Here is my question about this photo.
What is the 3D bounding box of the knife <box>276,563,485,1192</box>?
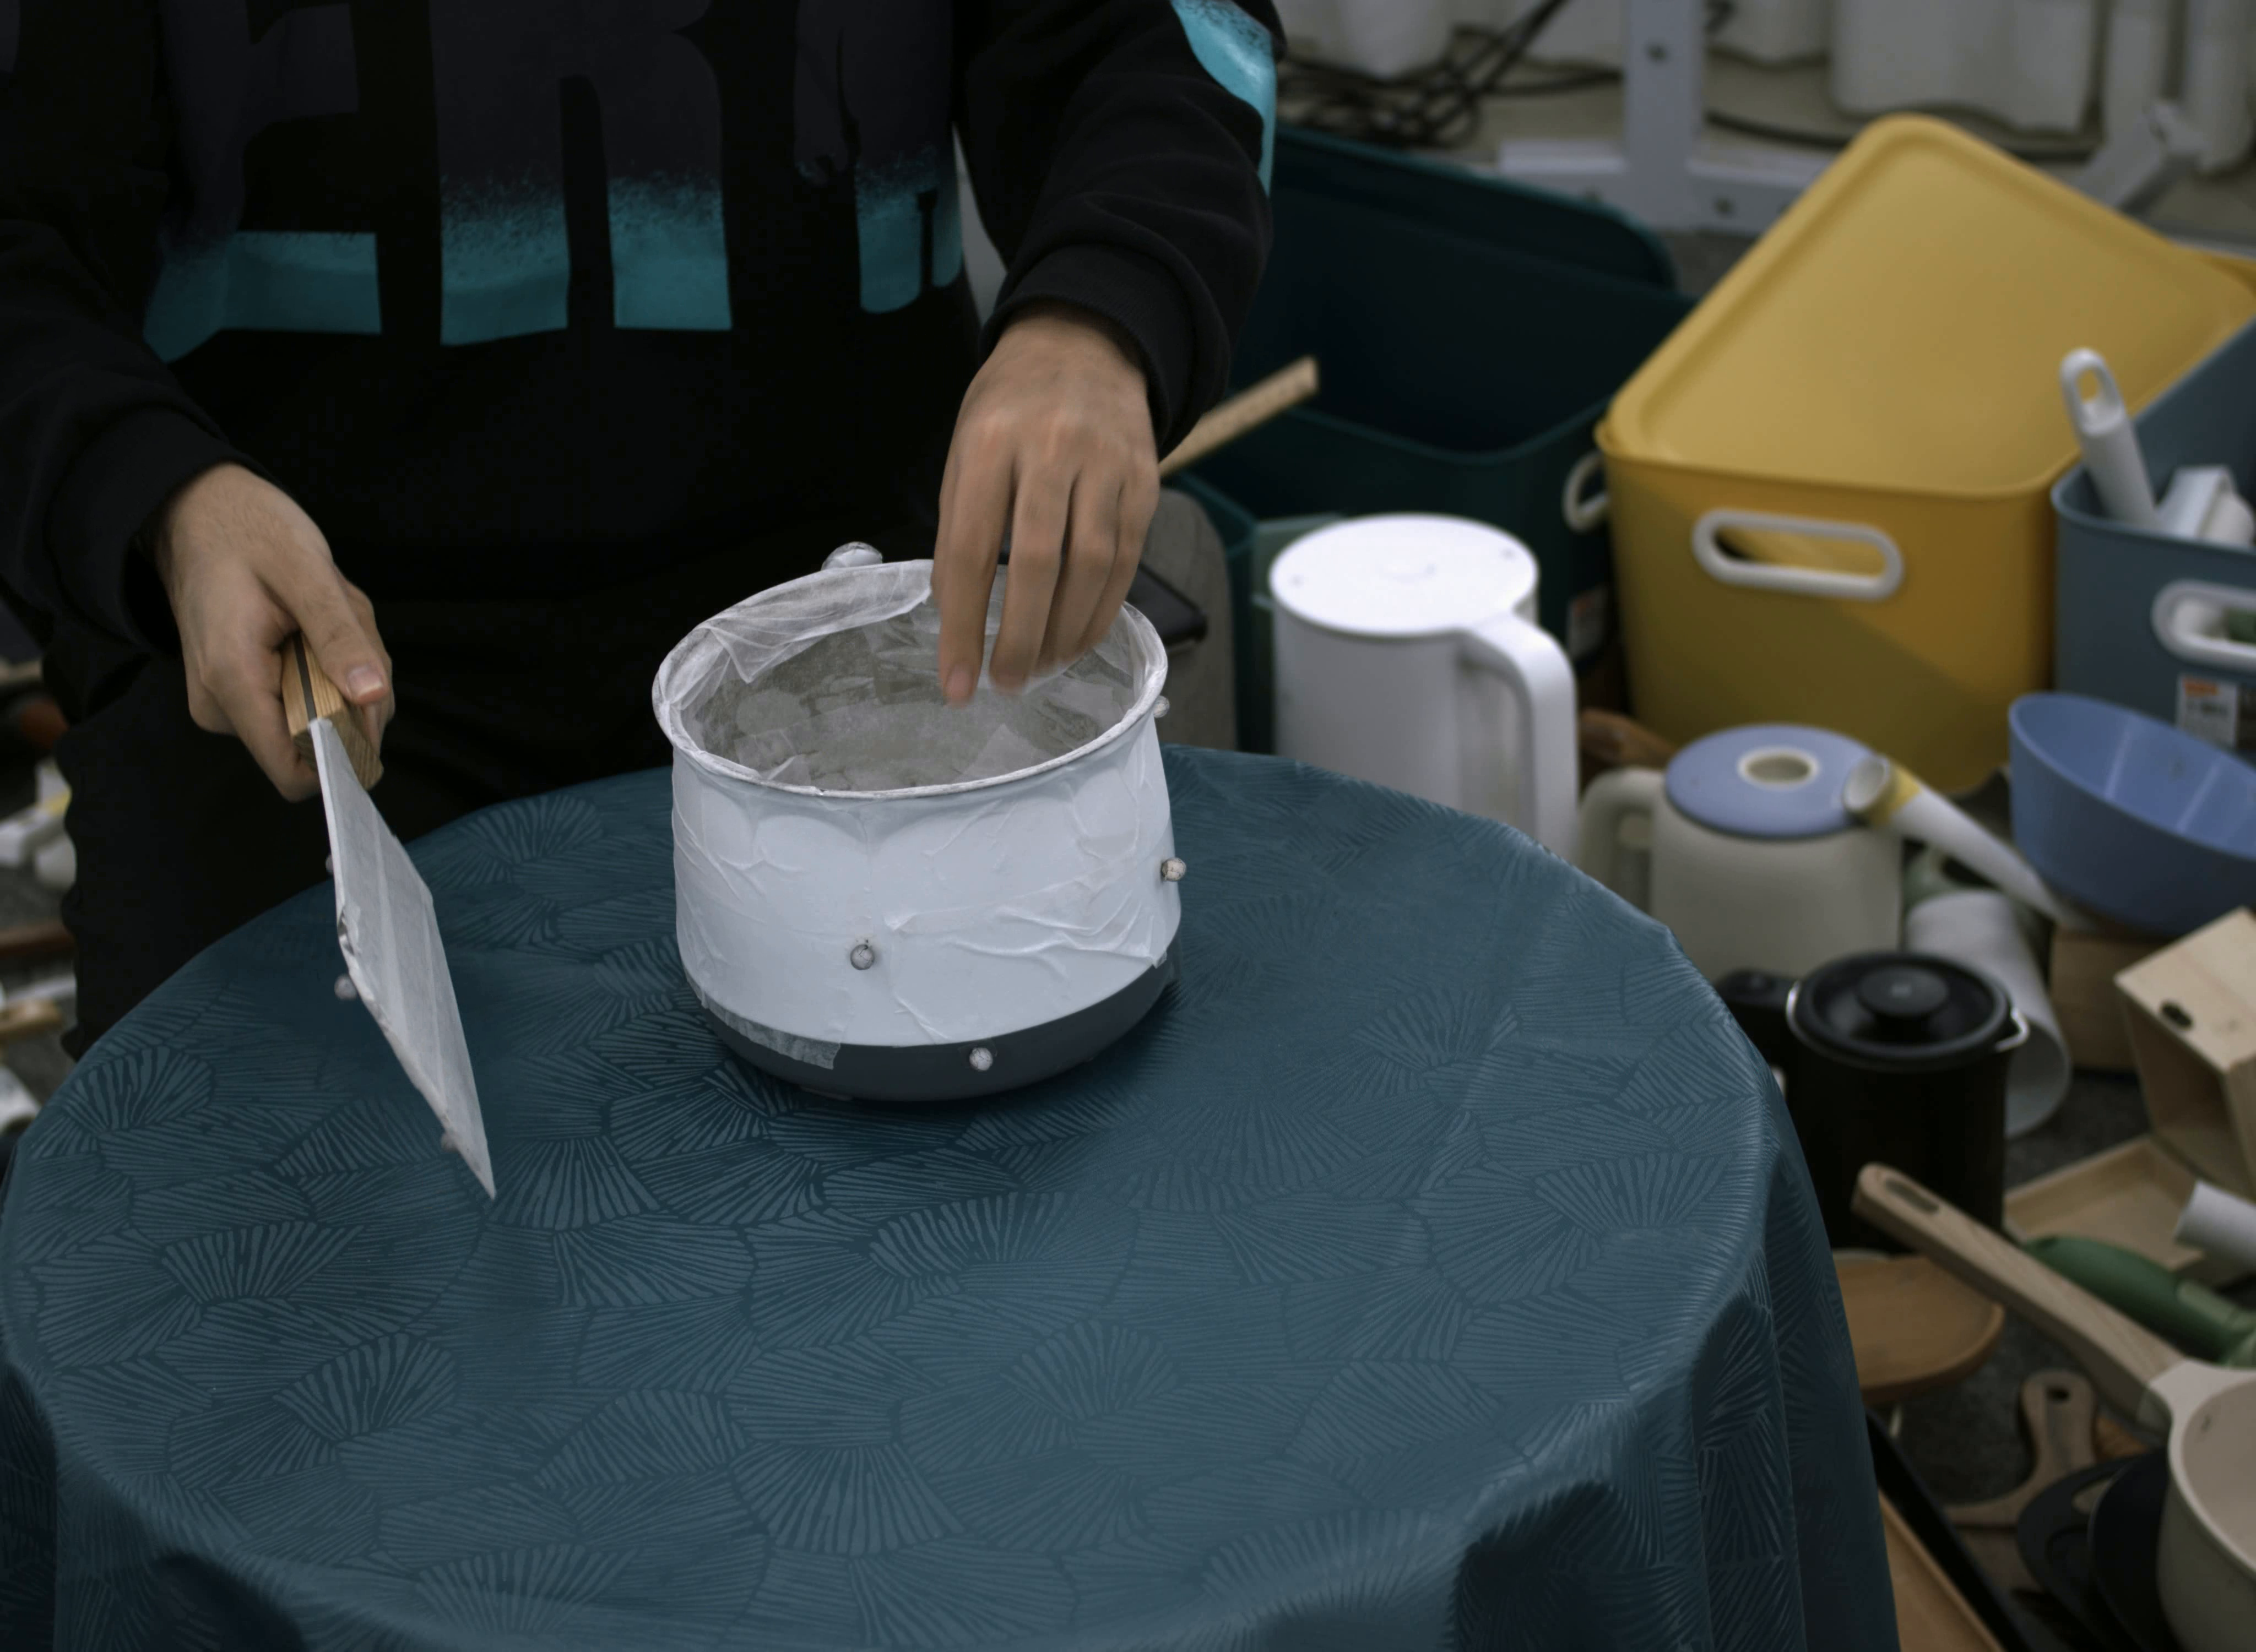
[{"bbox_3d":[-0.254,0.003,1.884,0.021,0.113,0.320,-27,36,2],"label":"knife"}]

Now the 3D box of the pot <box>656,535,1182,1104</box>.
[{"bbox_3d":[-0.077,-0.009,1.972,0.179,0.135,0.236,-9,29,-12],"label":"pot"}]
